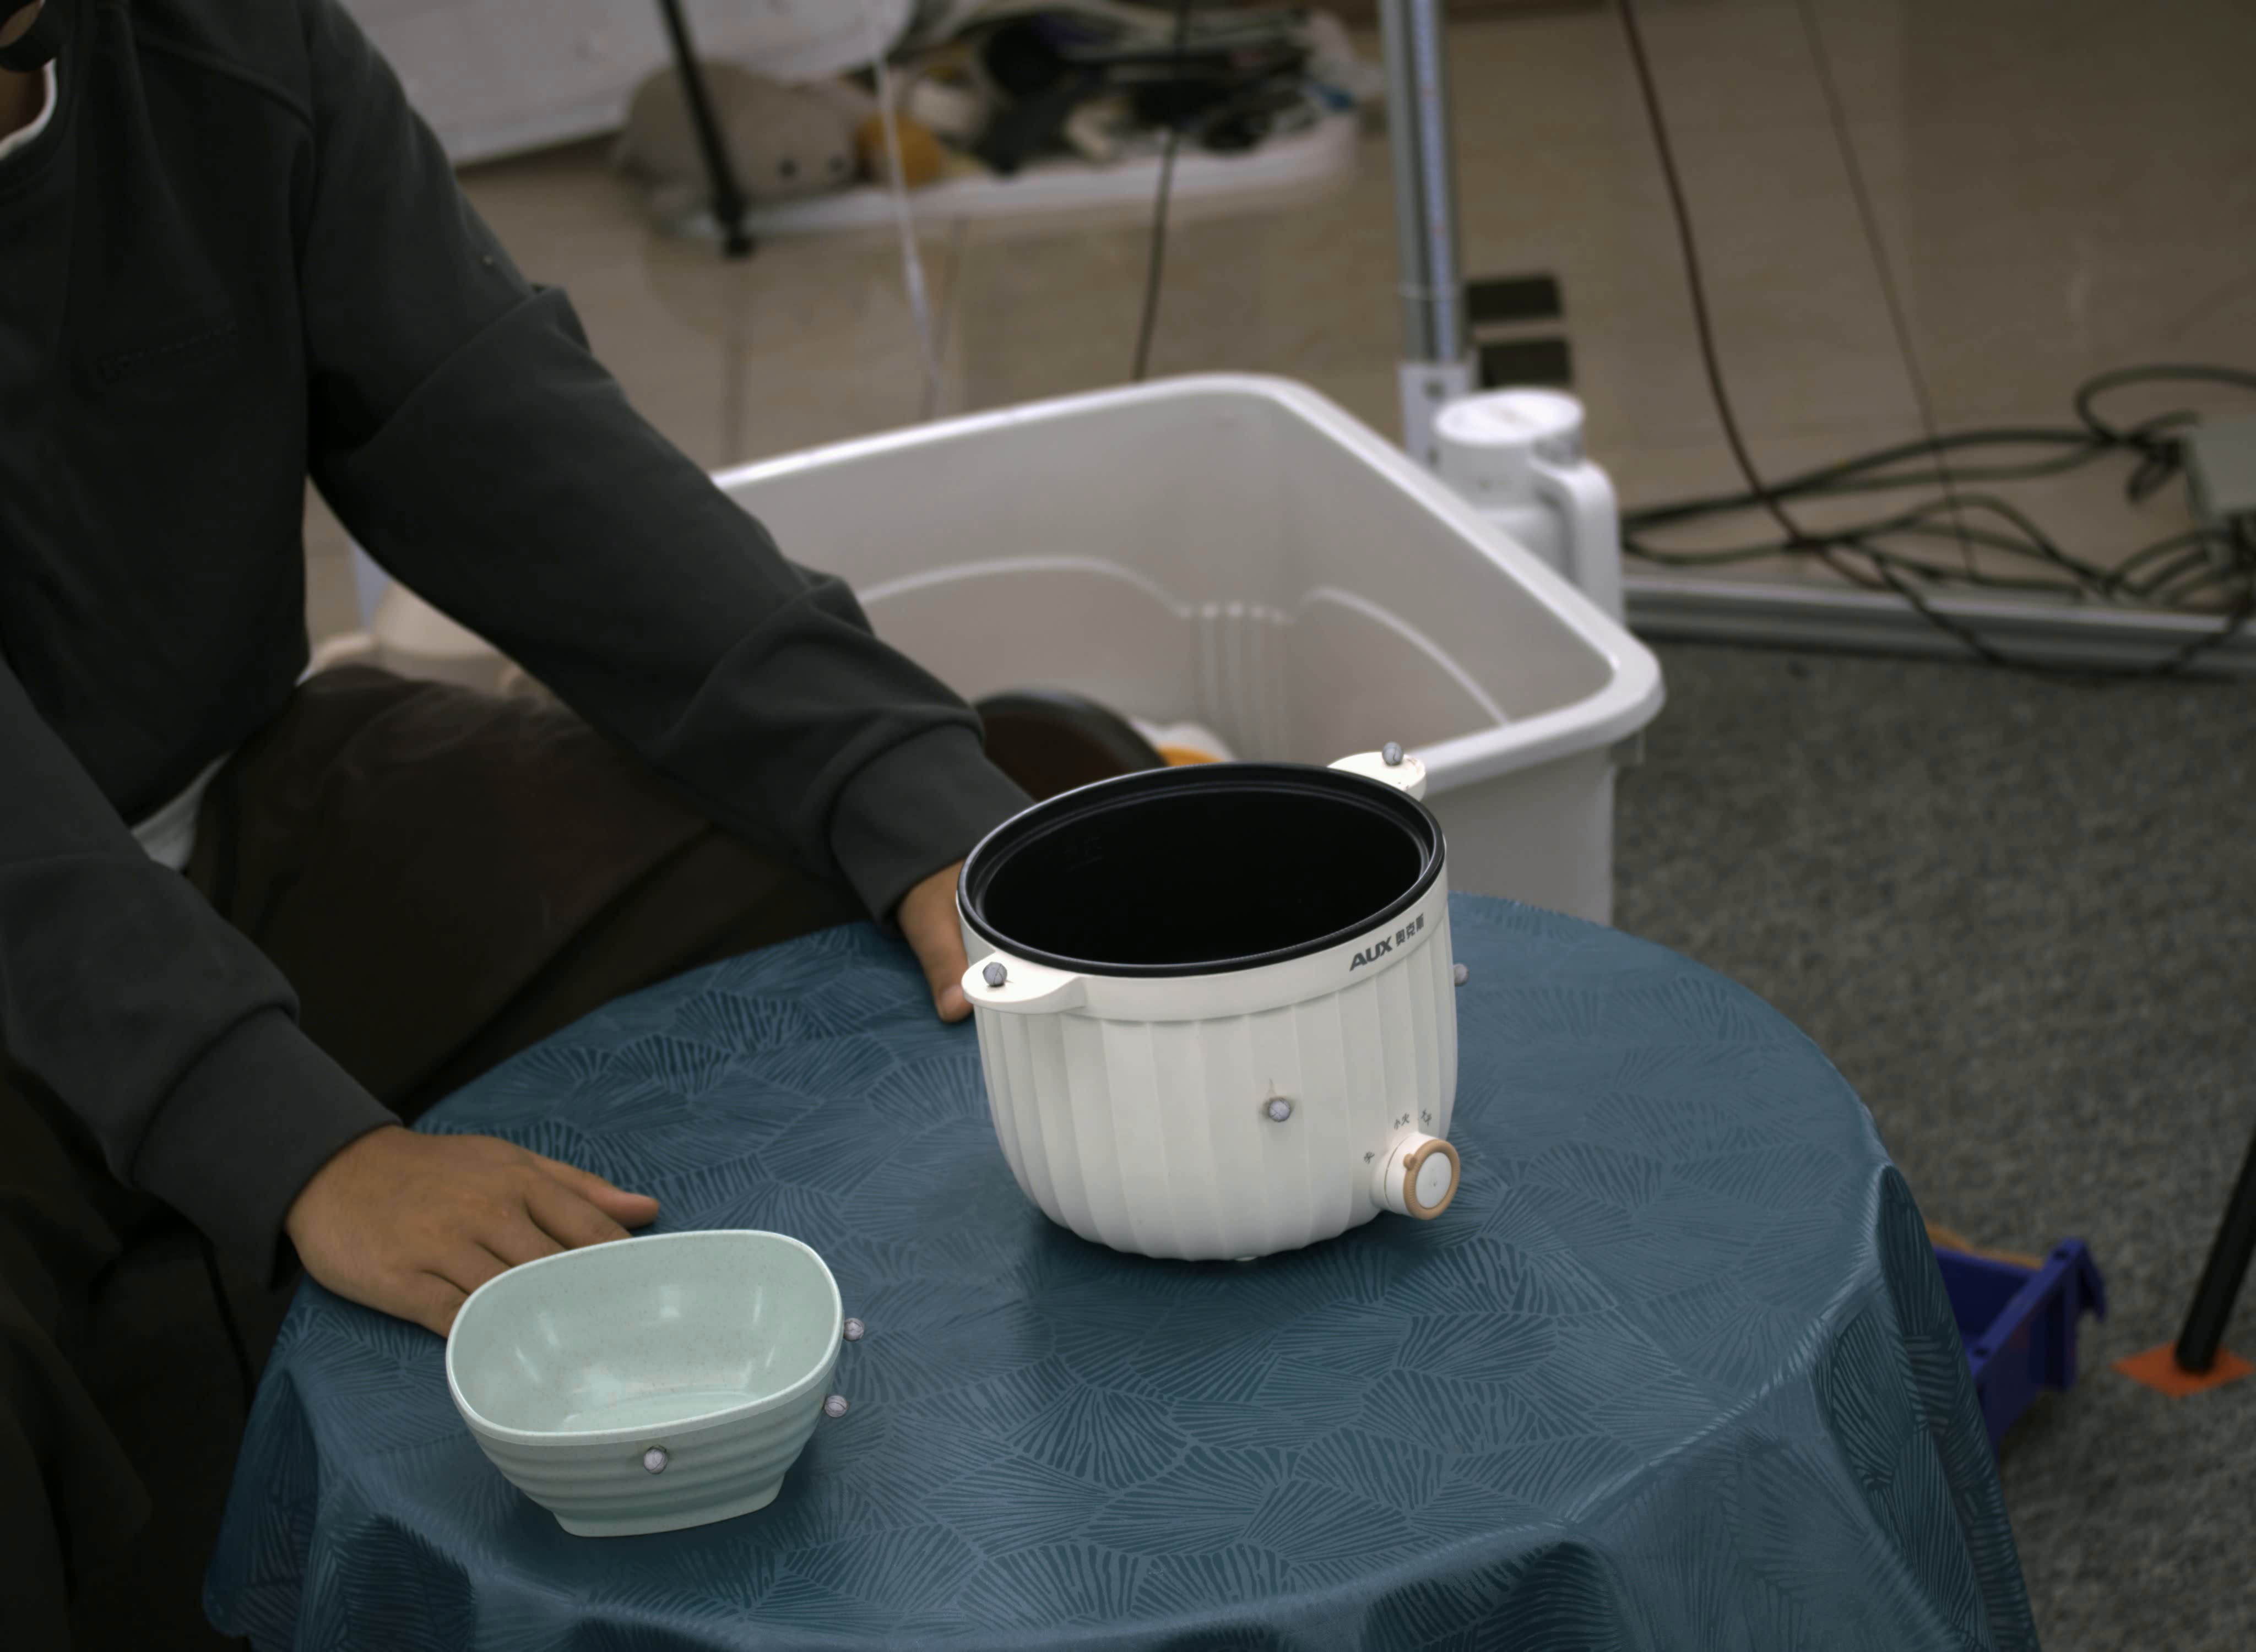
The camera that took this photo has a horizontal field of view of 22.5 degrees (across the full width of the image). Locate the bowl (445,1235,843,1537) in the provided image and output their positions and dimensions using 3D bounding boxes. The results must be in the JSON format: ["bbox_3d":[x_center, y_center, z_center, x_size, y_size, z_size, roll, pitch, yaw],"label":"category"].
[{"bbox_3d":[-0.167,0.201,1.986,0.151,0.059,0.149,-4,24,2],"label":"bowl"}]

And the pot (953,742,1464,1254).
[{"bbox_3d":[0.038,0.071,2.115,0.189,0.145,0.238,12,32,40],"label":"pot"}]
